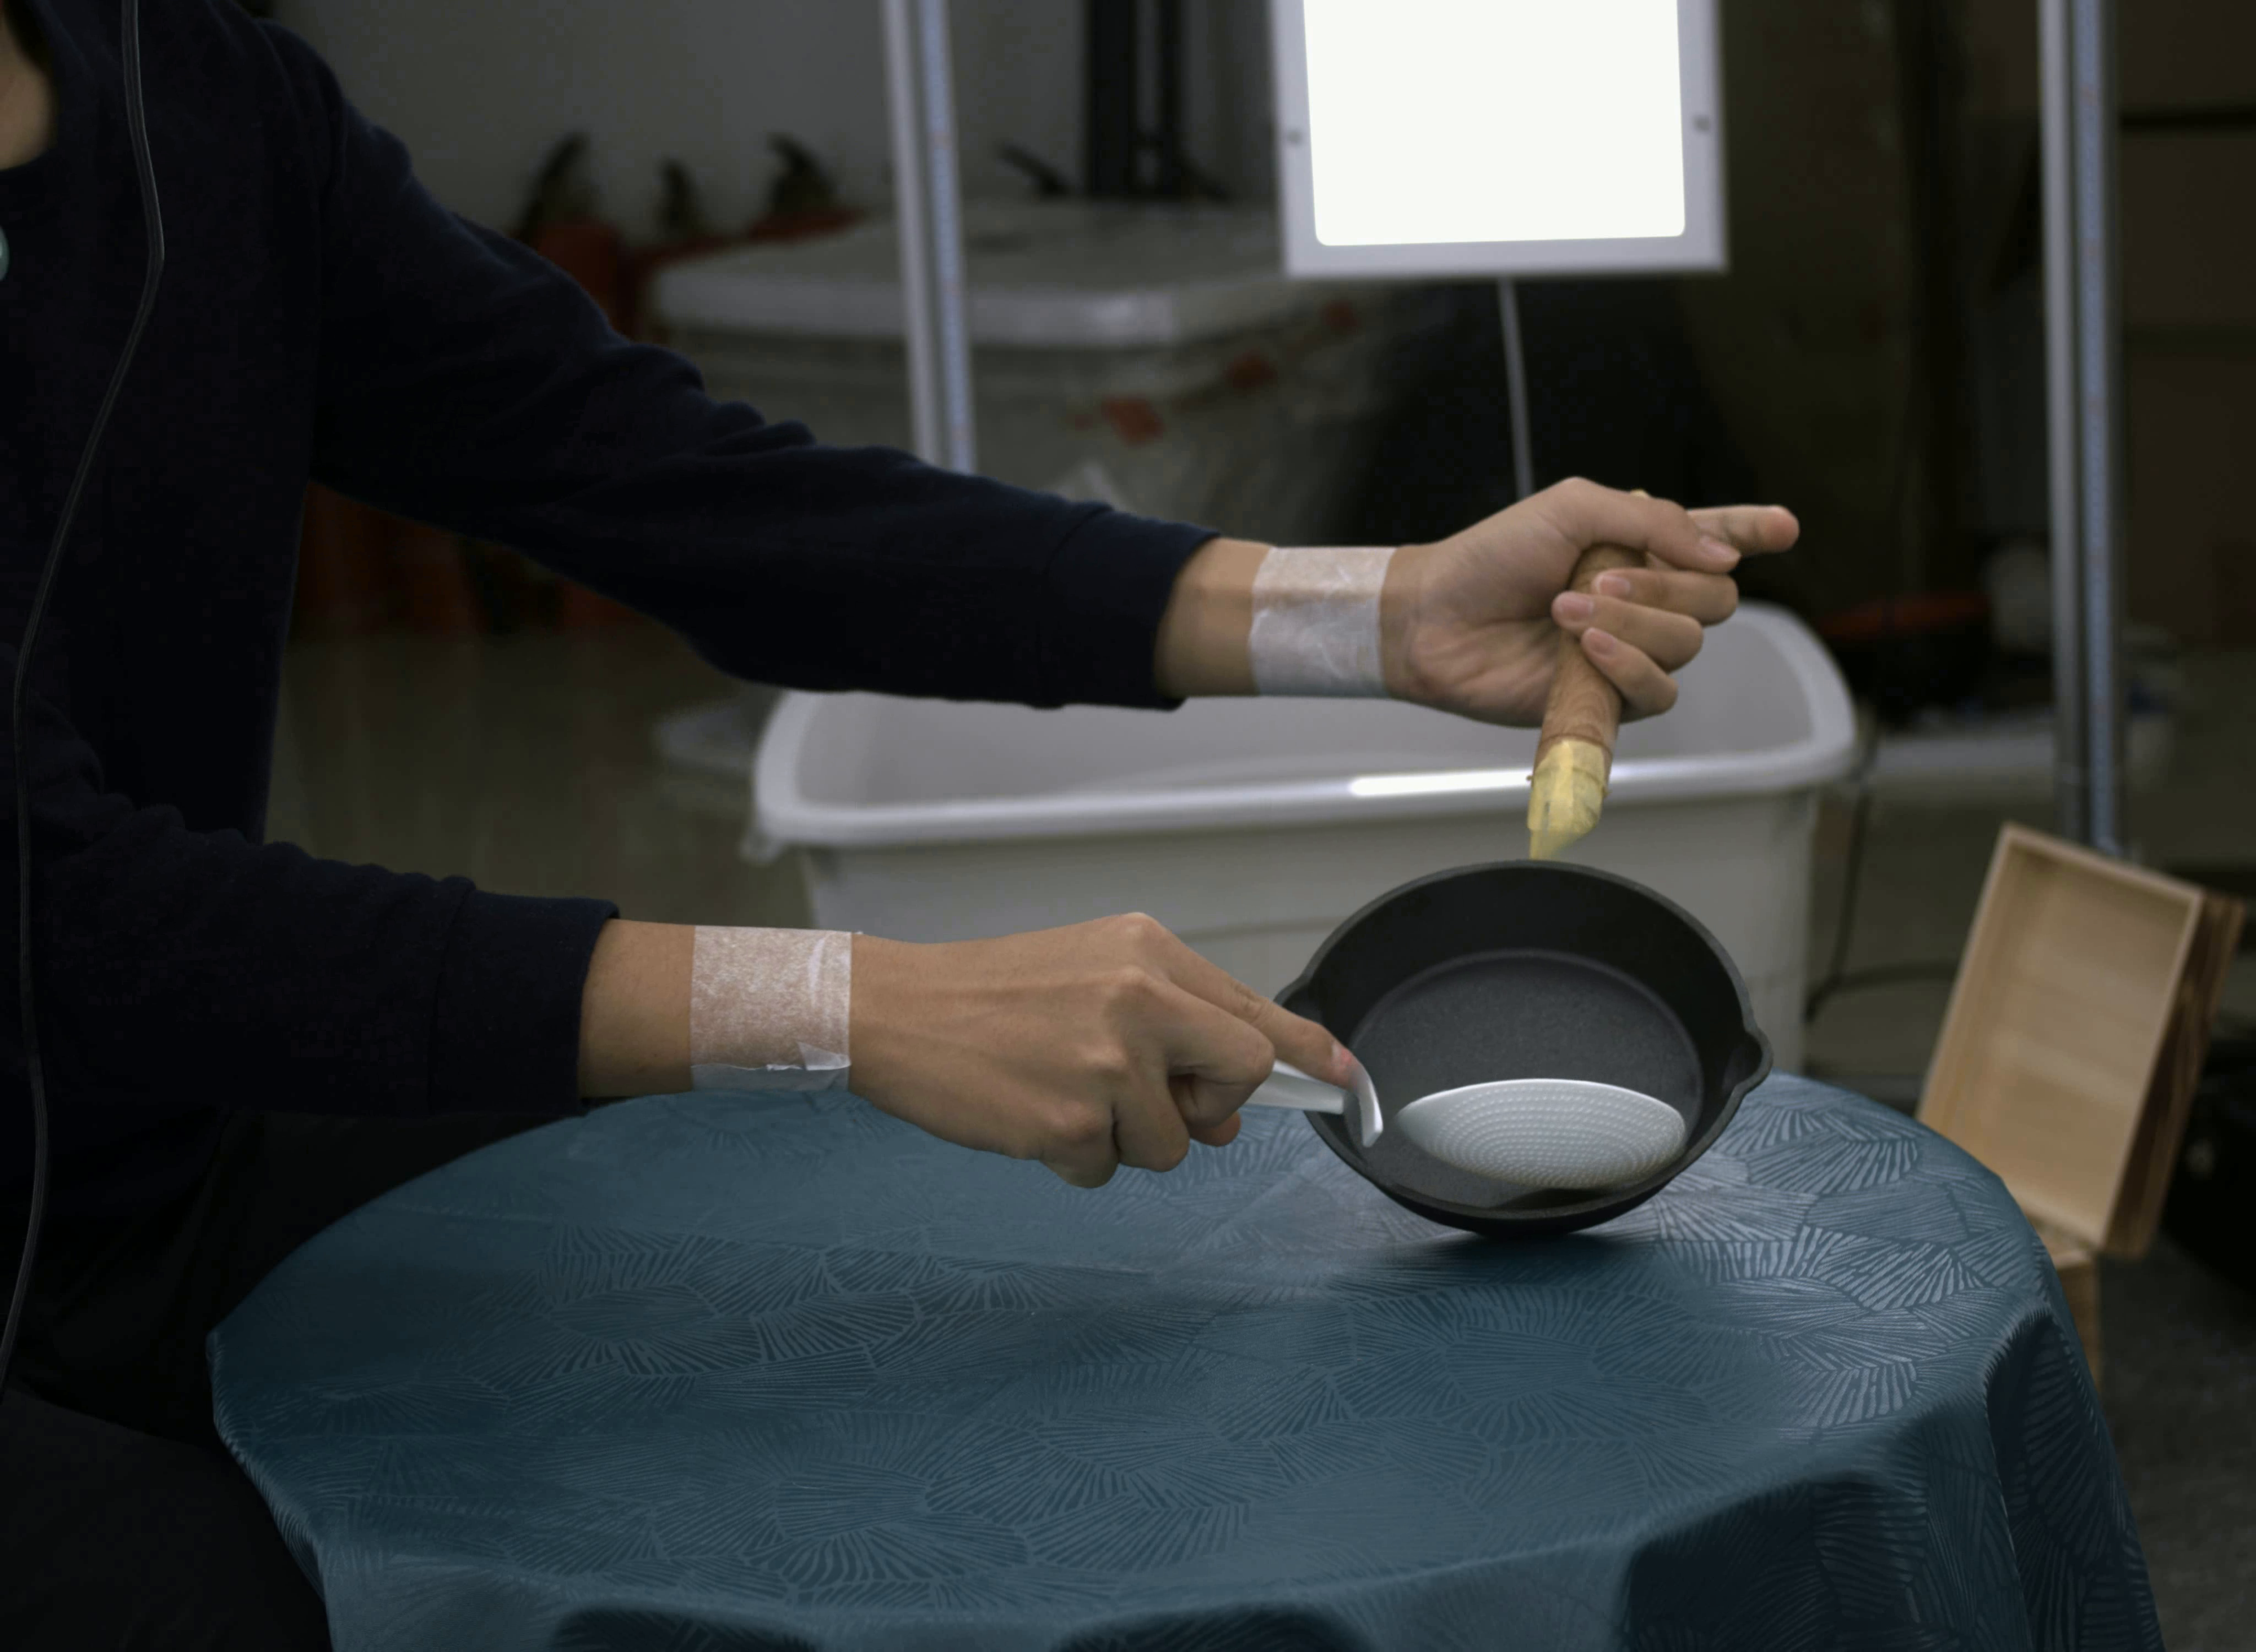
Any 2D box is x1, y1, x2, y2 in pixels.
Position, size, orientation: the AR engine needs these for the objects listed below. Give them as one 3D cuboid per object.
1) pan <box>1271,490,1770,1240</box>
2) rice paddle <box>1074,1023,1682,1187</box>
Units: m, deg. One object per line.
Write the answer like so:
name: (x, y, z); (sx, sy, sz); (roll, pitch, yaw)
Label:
pan: (0.150, 0.012, 1.892); (0.170, 0.049, 0.321); (6, 50, 14)
rice paddle: (0.084, 0.092, 1.782); (0.202, 0.029, 0.070); (8, -31, -14)
